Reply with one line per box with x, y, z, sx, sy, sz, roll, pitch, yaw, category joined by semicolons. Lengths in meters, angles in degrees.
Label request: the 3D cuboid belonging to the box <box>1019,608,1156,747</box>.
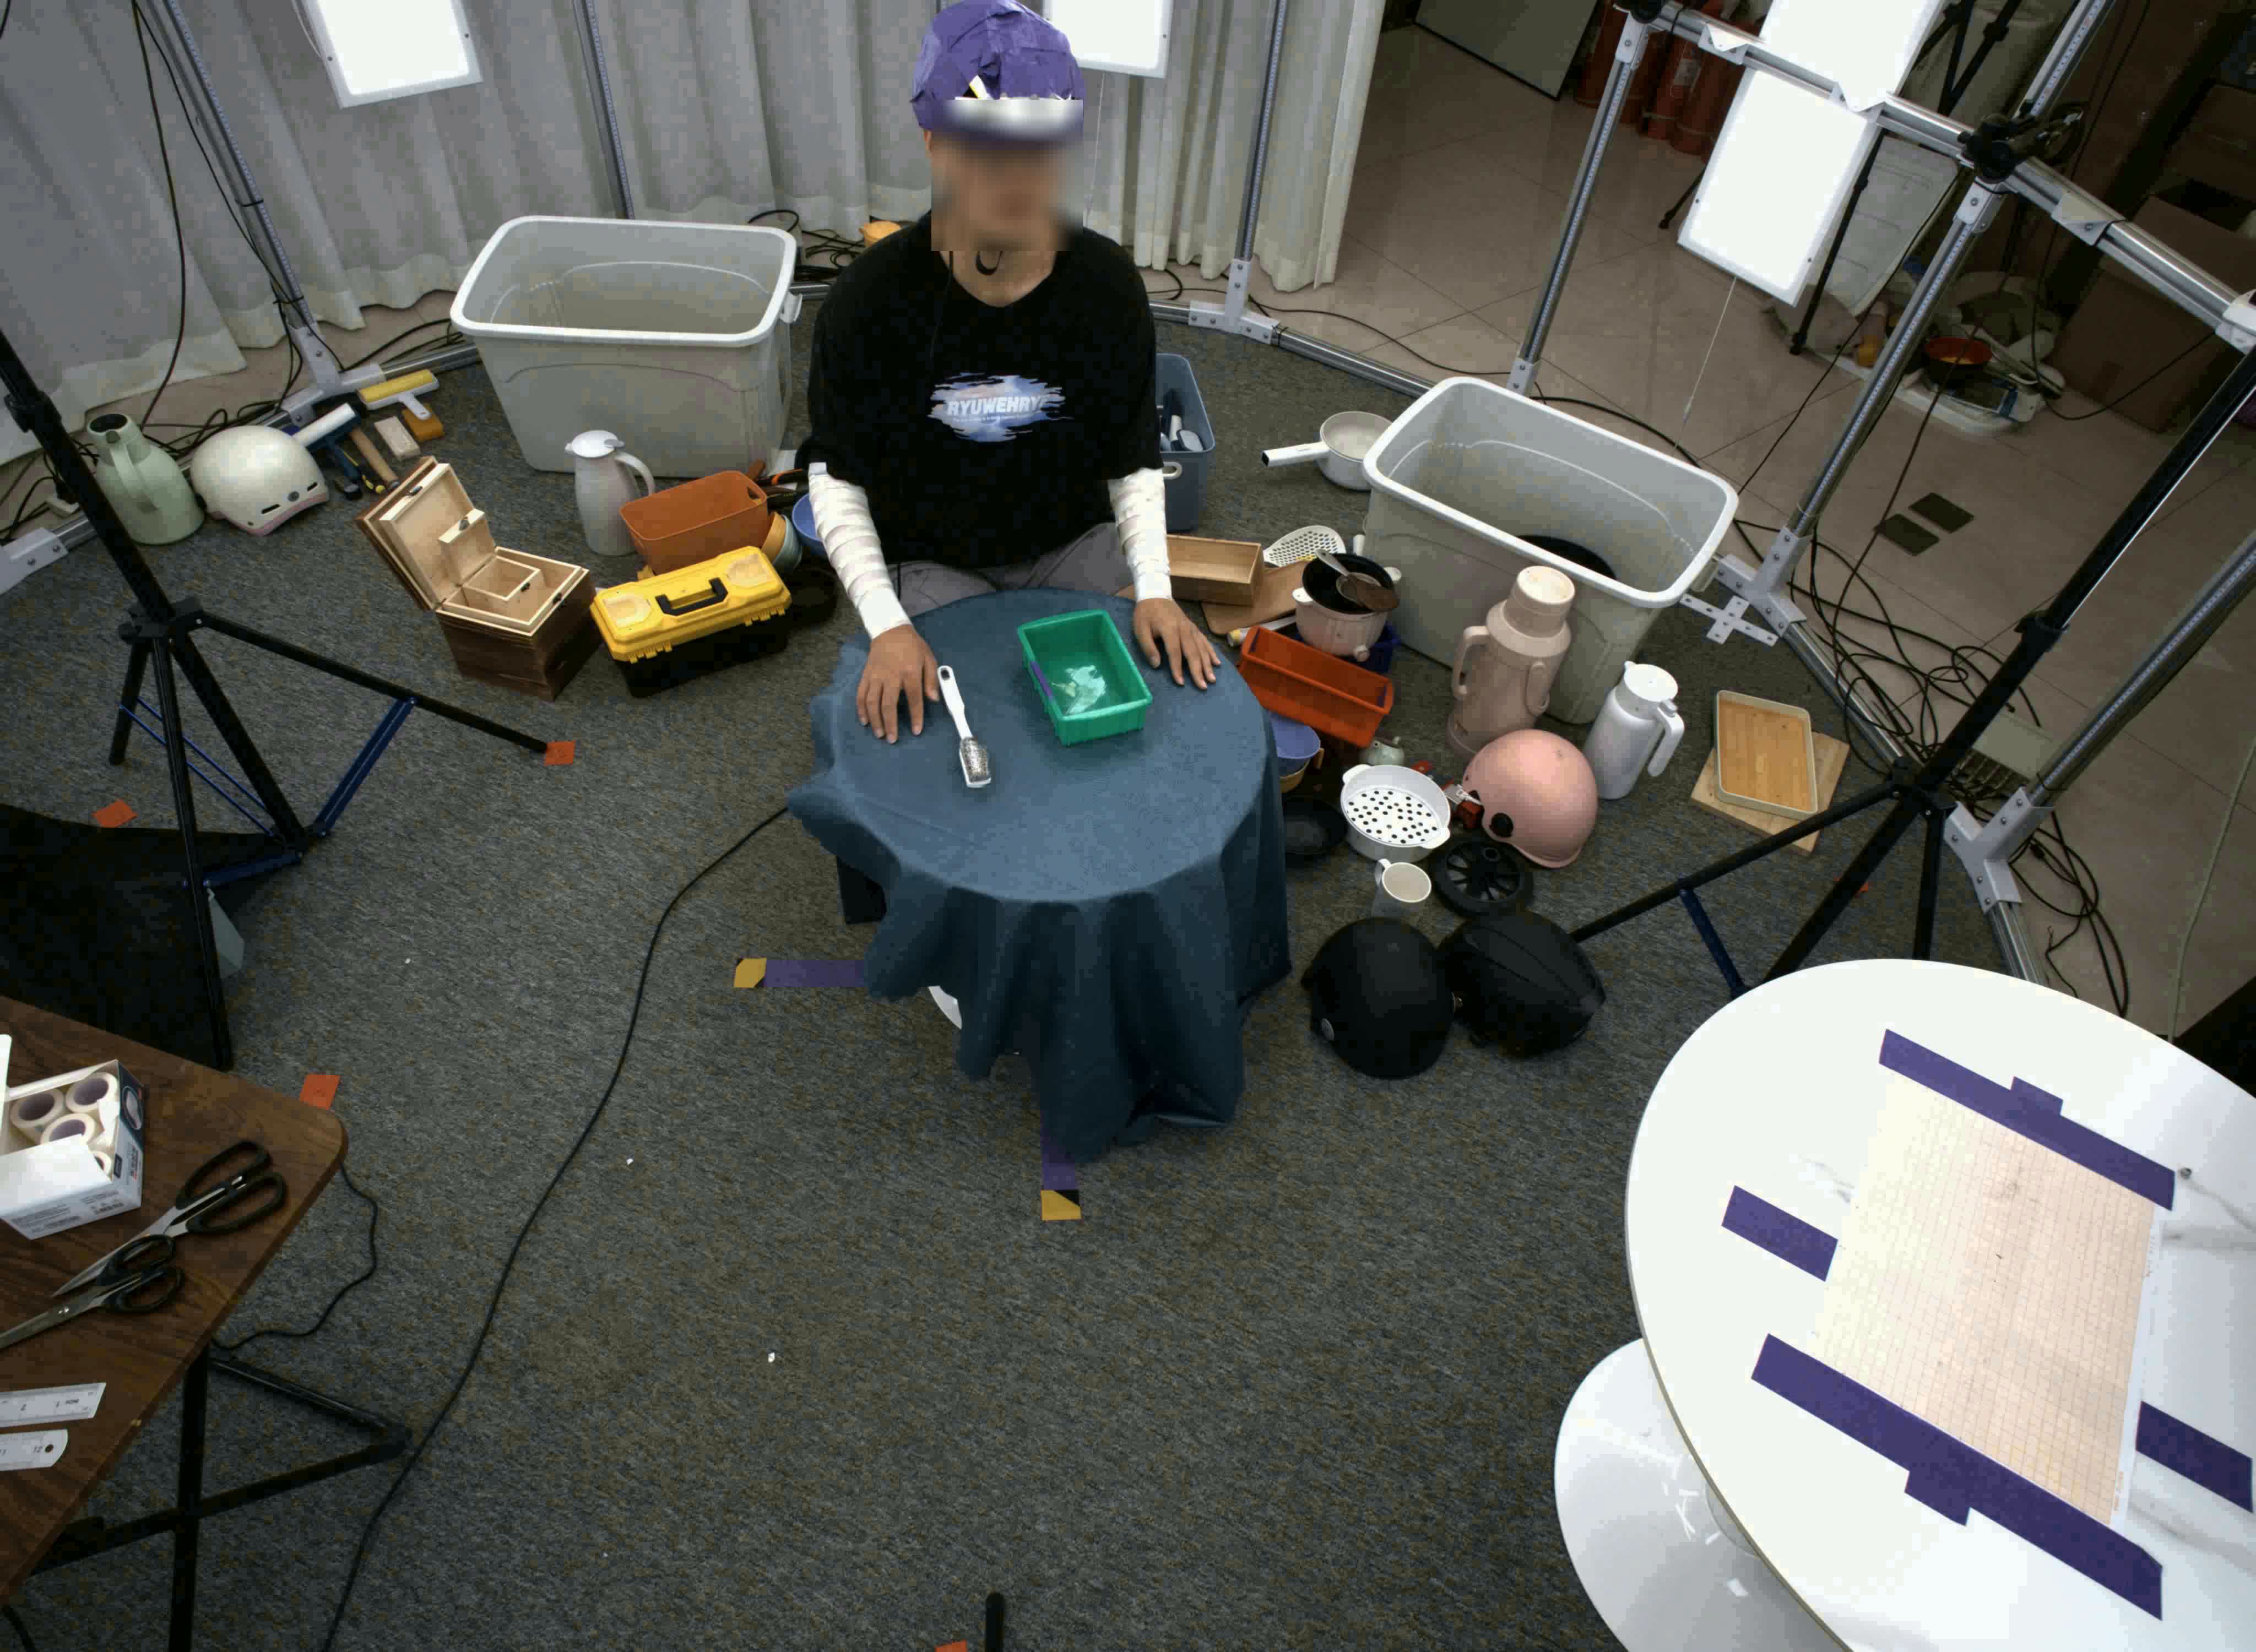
-0.059;-0.208;1.808;0.139;0.064;0.215;-17;54;-14;box

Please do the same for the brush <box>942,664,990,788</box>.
-0.225;-0.151;1.758;0.034;0.049;0.250;-10;51;-10;brush
